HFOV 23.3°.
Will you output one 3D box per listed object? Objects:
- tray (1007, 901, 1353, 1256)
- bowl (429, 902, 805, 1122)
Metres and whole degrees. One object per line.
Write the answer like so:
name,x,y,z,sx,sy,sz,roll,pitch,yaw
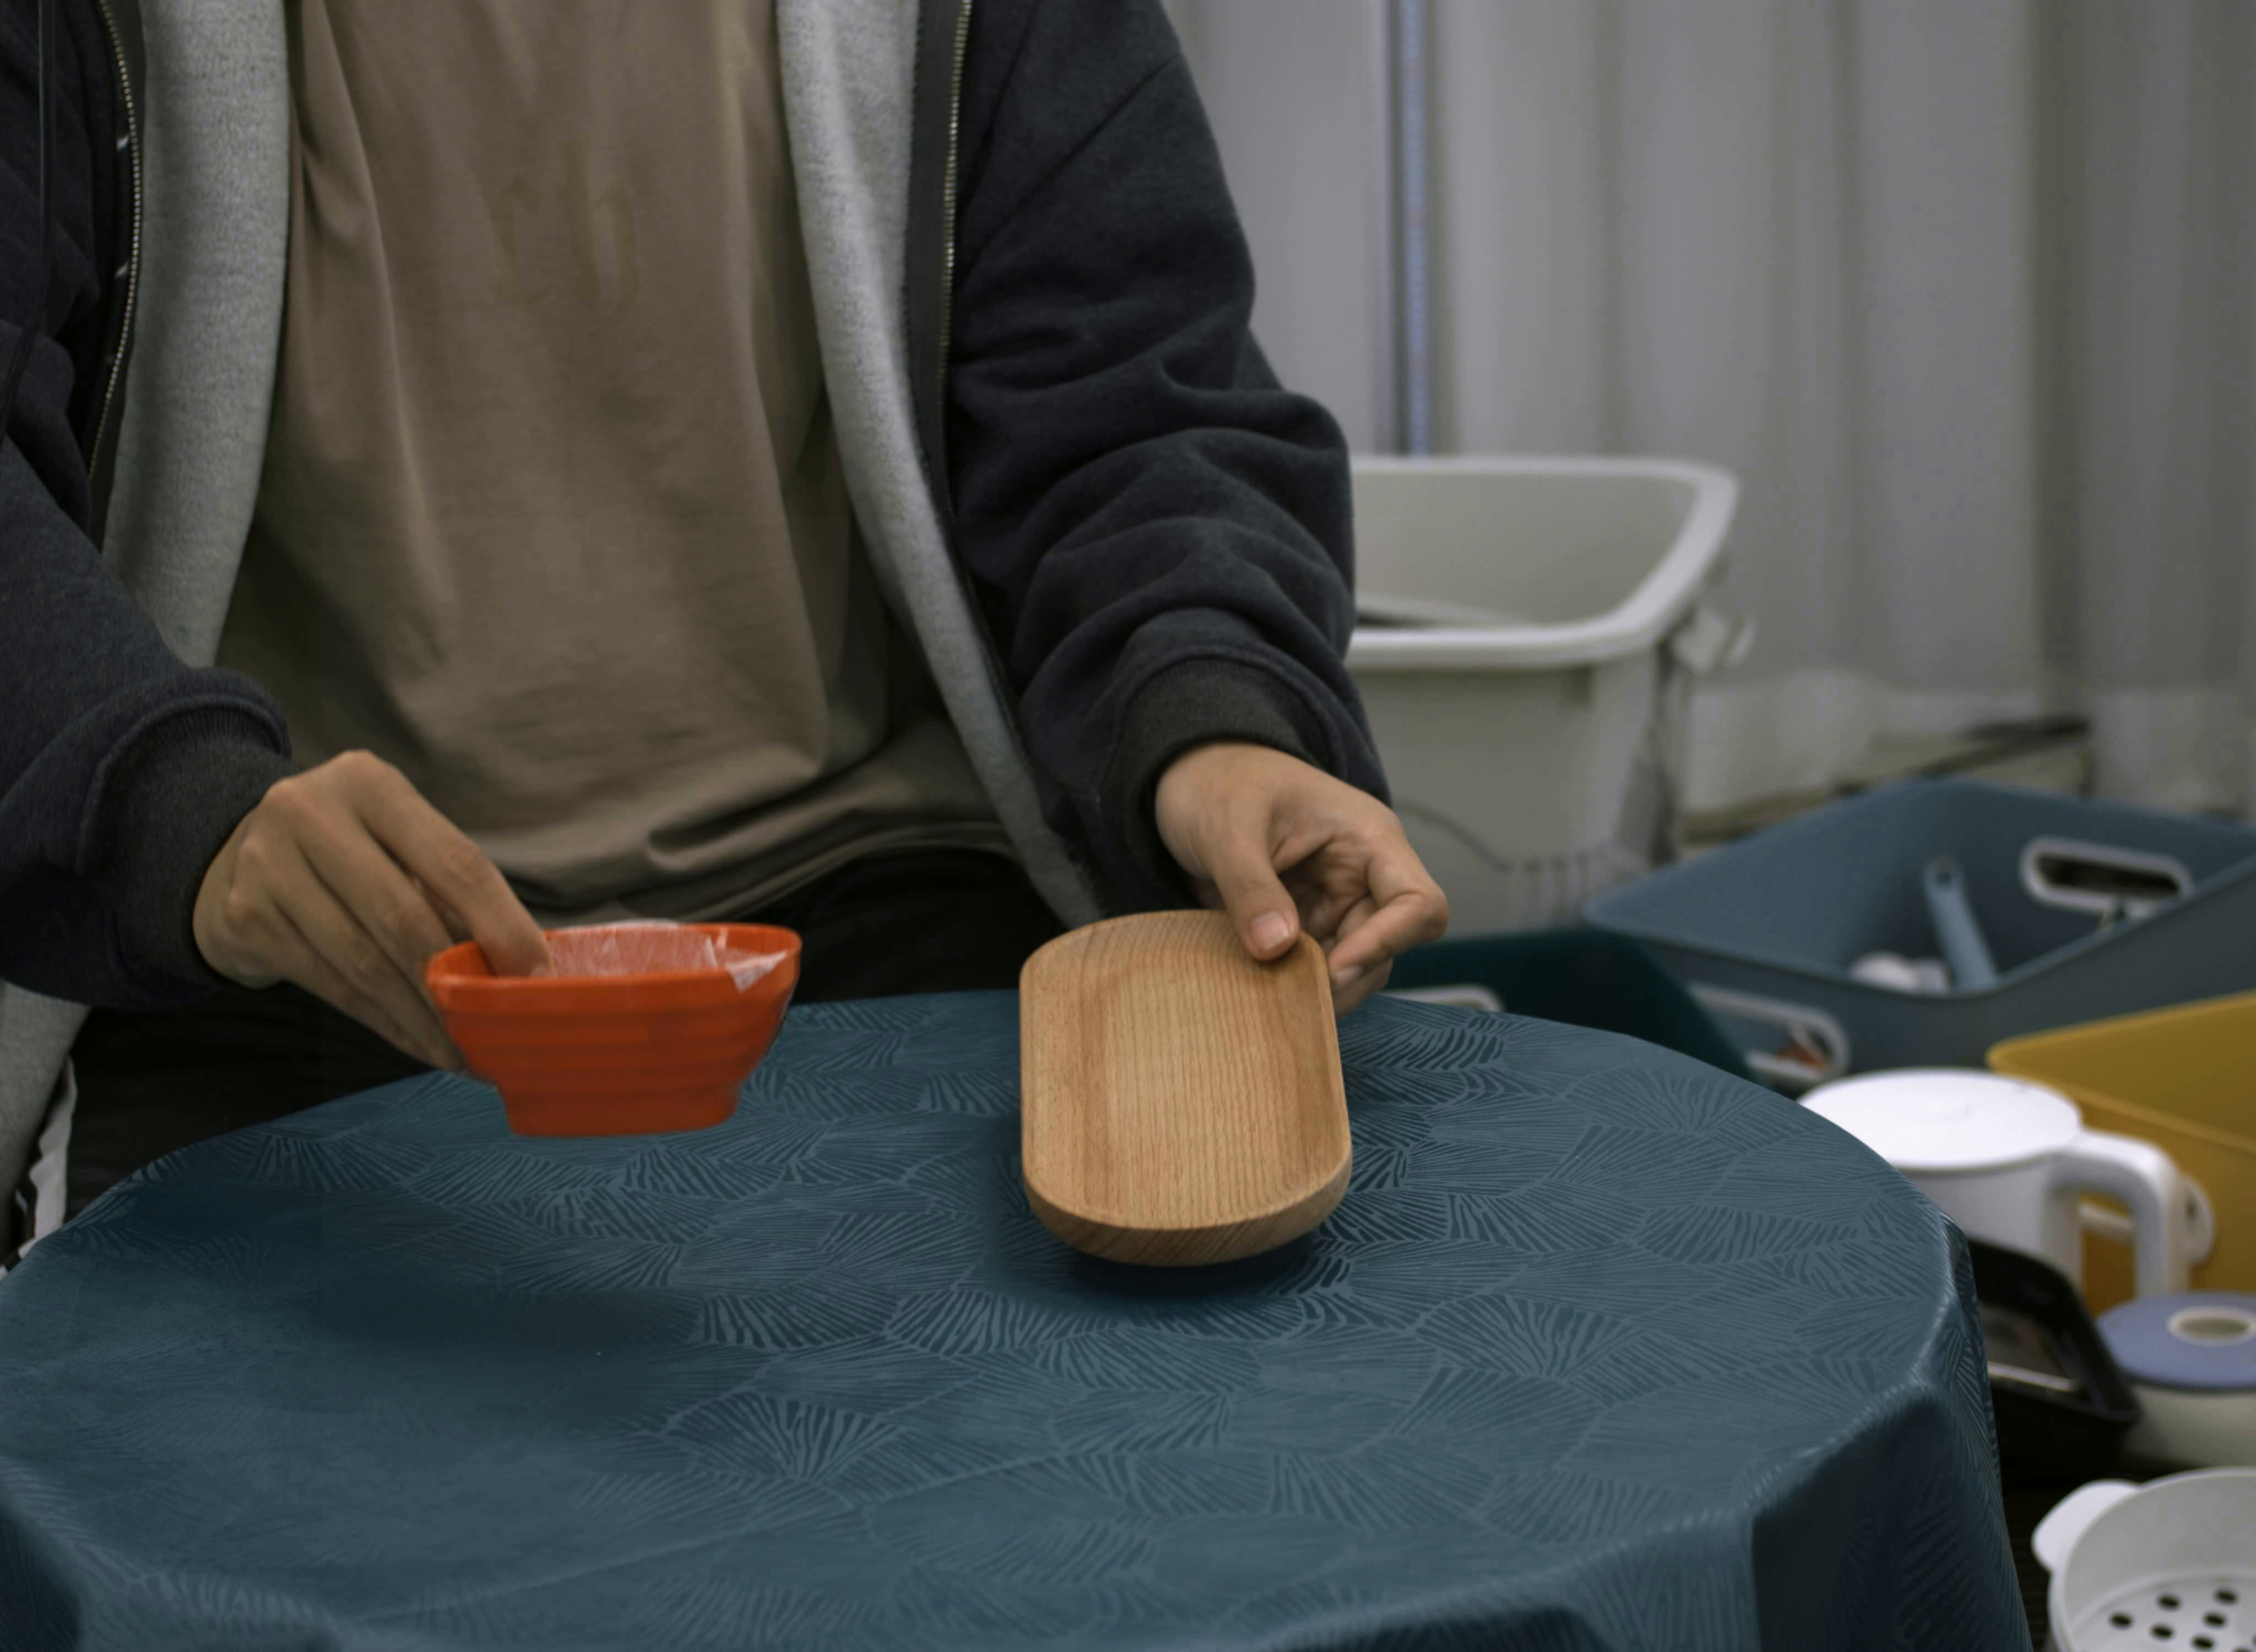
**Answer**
tray,0.015,0.076,1.715,0.101,0.020,0.233,-4,22,-1
bowl,-0.148,0.055,1.609,0.118,0.051,0.119,-4,7,0
